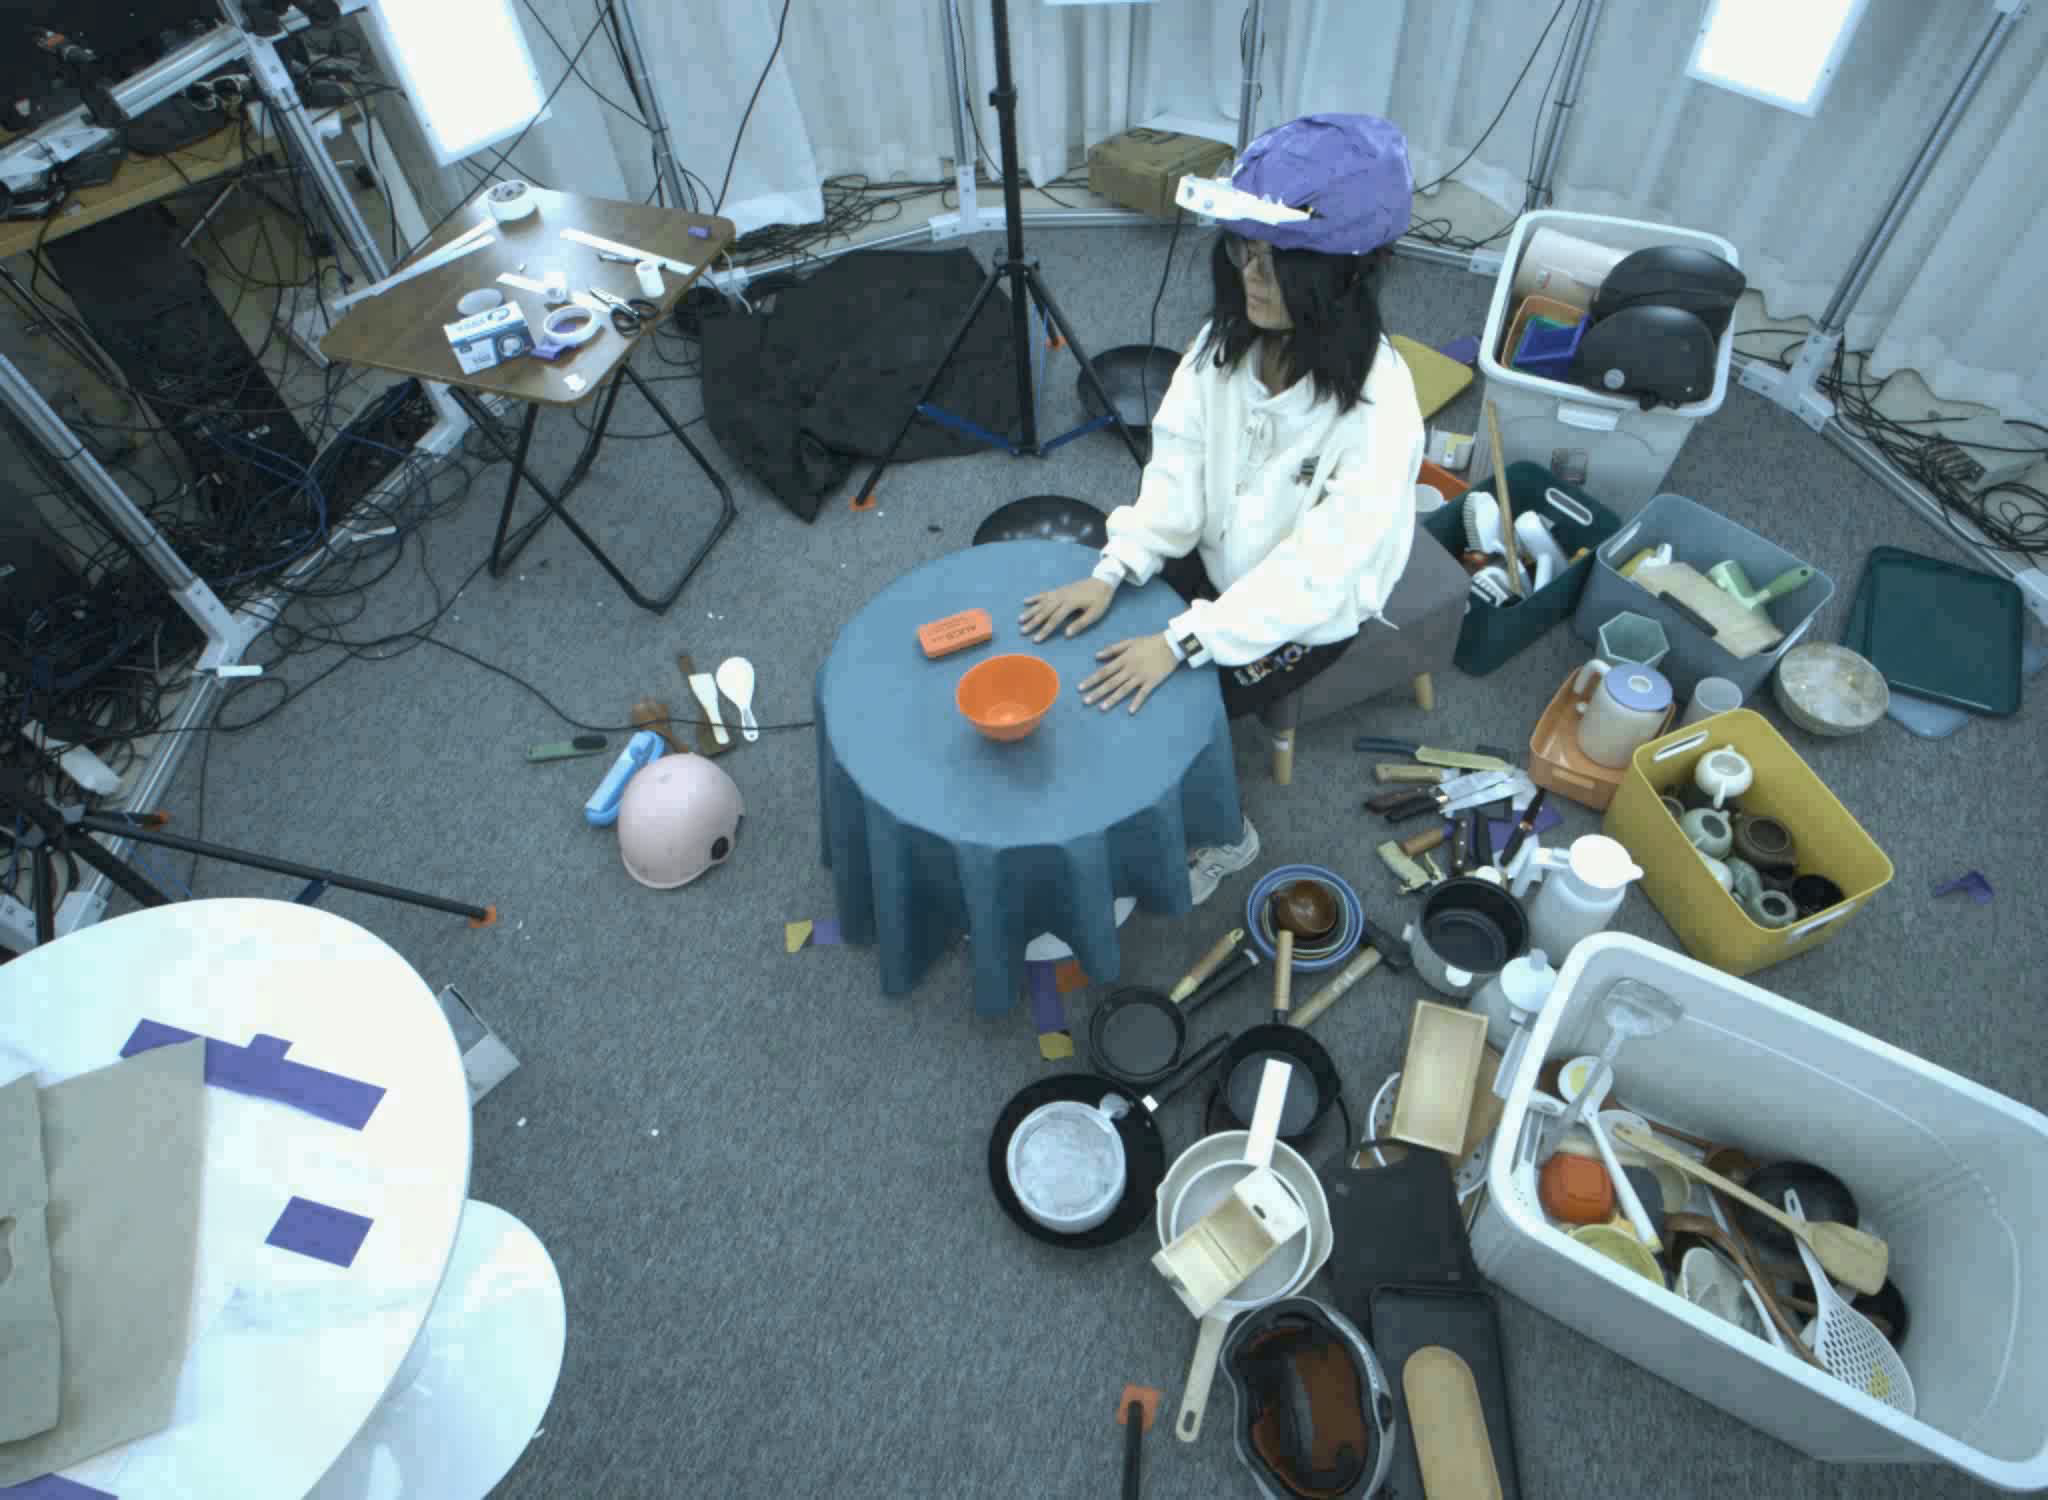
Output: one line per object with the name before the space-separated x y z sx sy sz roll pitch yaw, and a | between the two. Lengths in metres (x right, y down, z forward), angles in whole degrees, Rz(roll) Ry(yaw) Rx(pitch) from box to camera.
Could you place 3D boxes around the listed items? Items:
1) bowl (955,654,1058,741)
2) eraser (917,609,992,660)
bowl | -0.023 -0.061 1.770 0.148 0.106 0.146 -1 55 3
eraser | -0.109 -0.180 1.904 0.109 0.023 0.058 -19 55 -11
